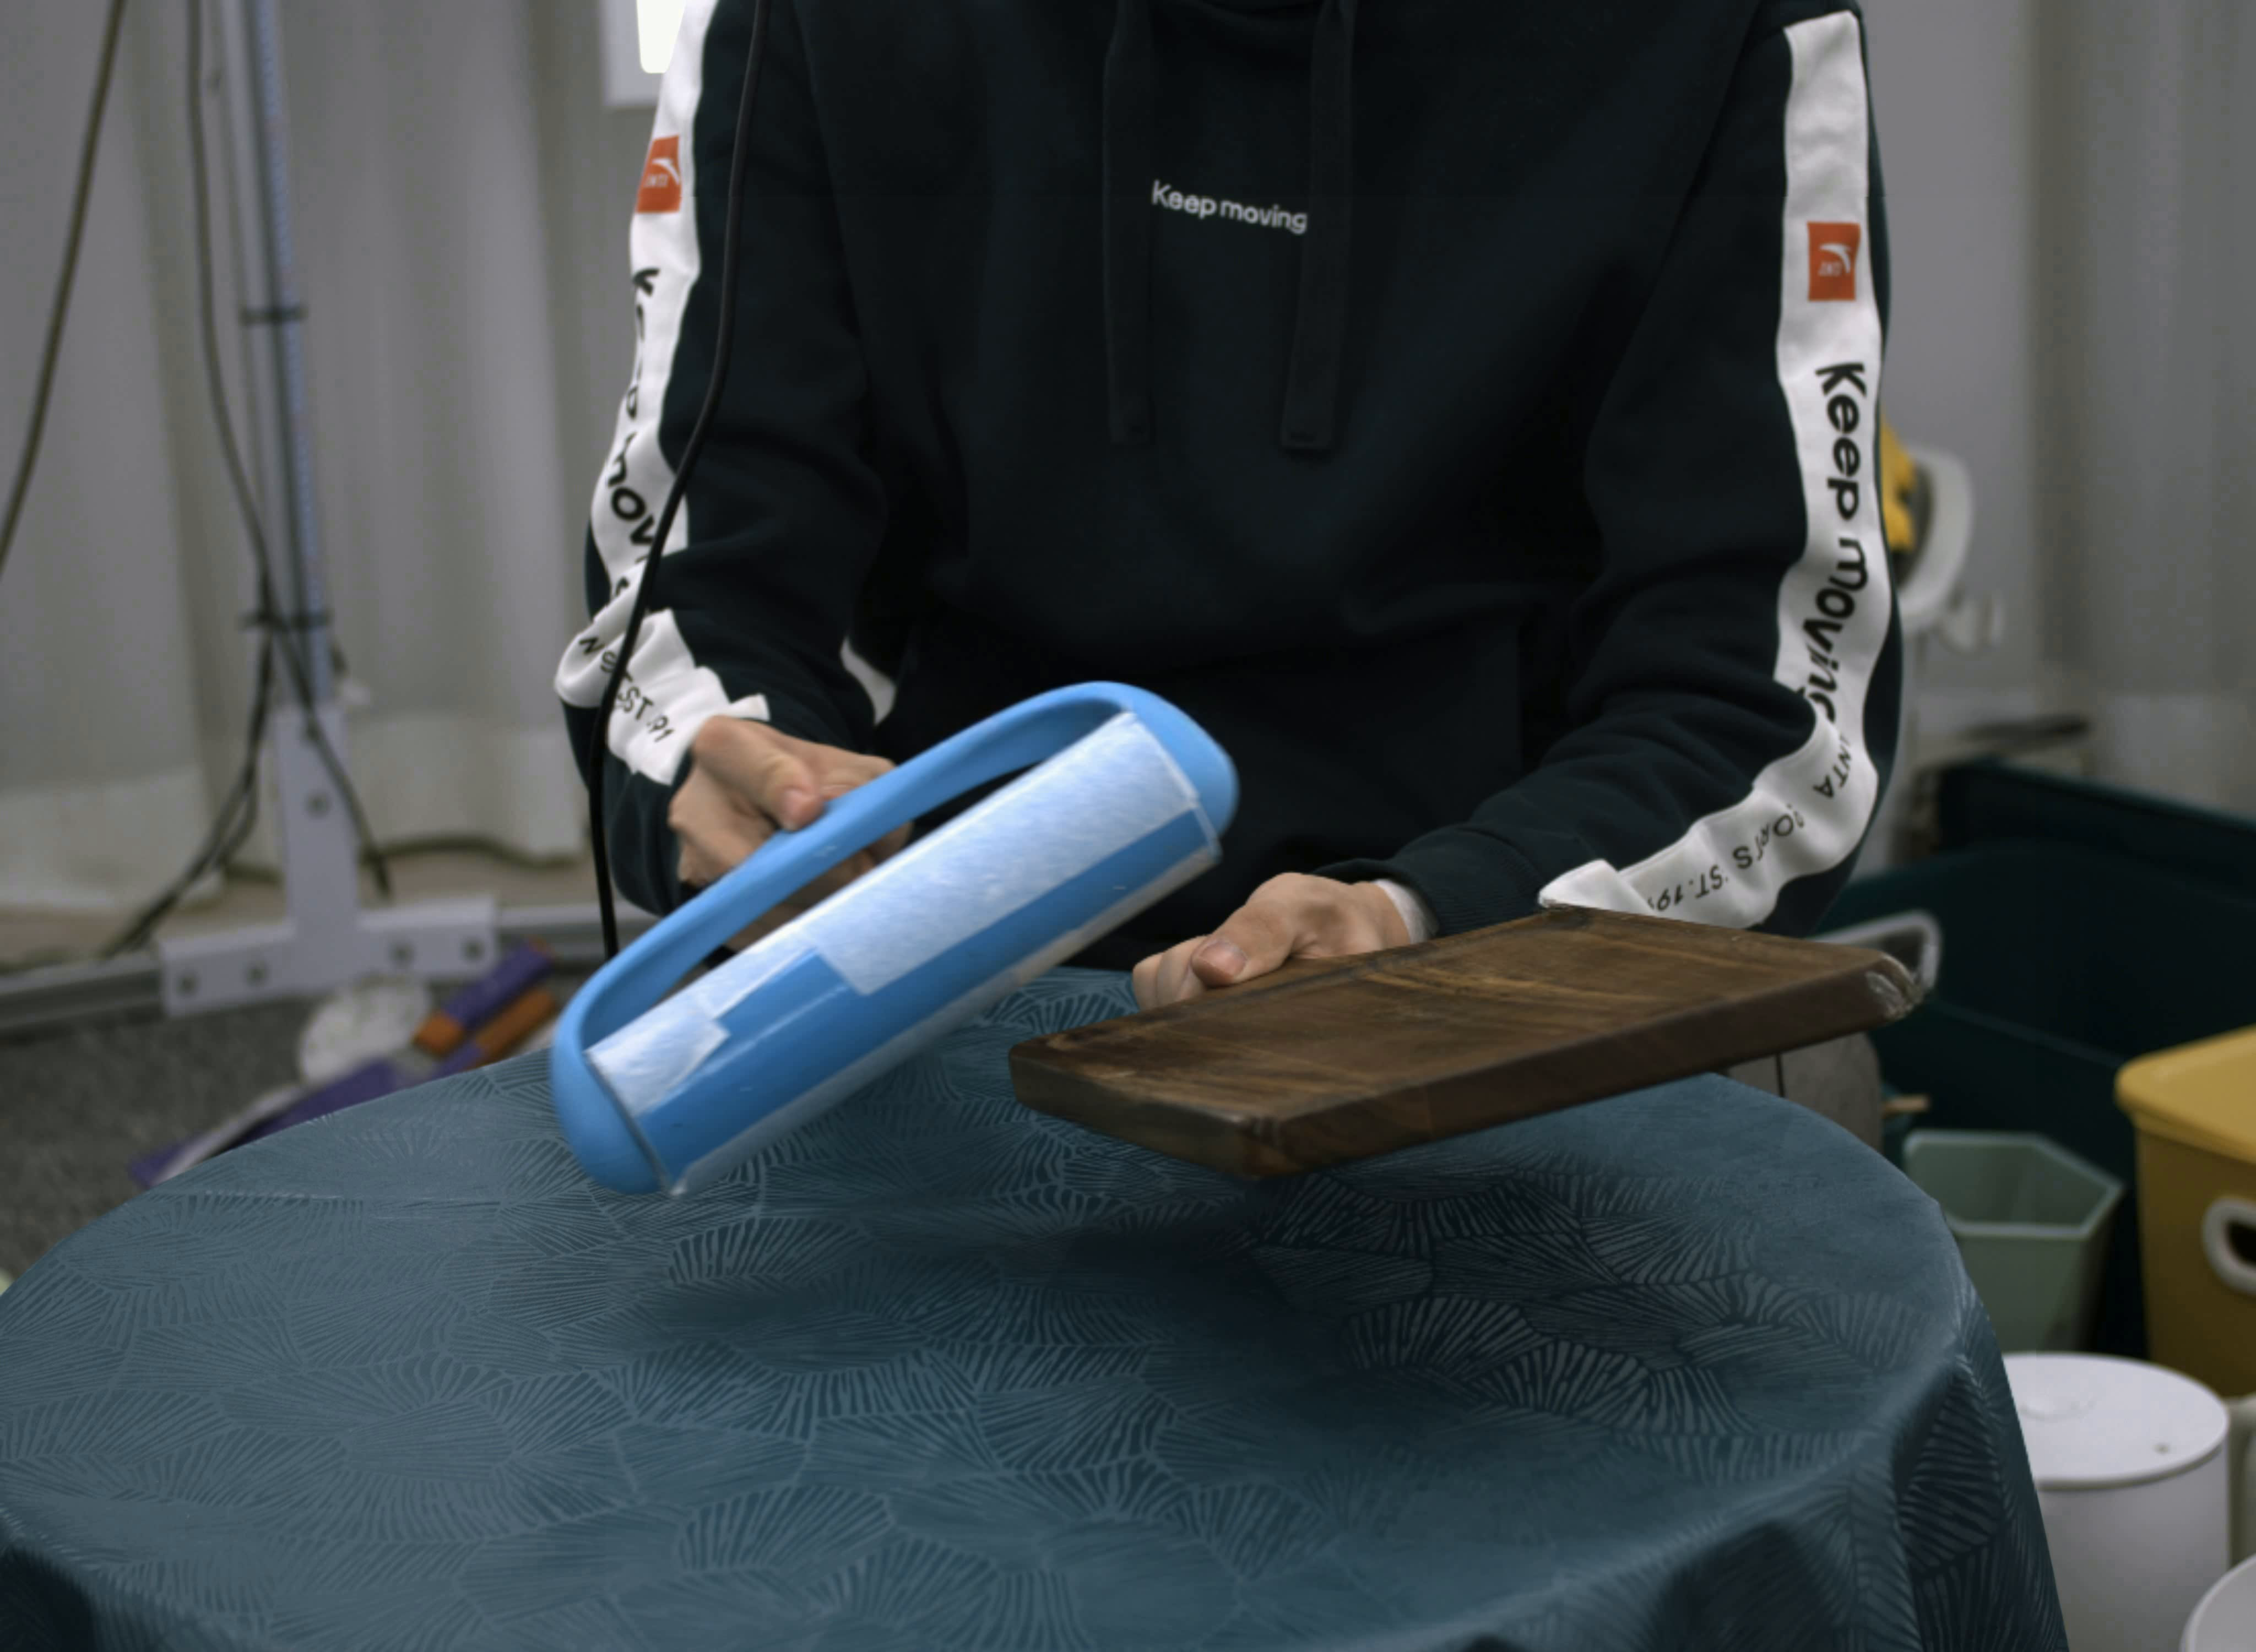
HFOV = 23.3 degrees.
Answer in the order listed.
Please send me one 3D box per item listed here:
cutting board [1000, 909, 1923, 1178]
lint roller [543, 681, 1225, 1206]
[{"bbox_3d":[0.075,0.058,1.633,0.200,0.023,0.353,-13,6,-17],"label":"cutting board"},{"bbox_3d":[-0.090,0.027,1.686,0.229,0.067,0.181,-35,20,-10],"label":"lint roller"}]
